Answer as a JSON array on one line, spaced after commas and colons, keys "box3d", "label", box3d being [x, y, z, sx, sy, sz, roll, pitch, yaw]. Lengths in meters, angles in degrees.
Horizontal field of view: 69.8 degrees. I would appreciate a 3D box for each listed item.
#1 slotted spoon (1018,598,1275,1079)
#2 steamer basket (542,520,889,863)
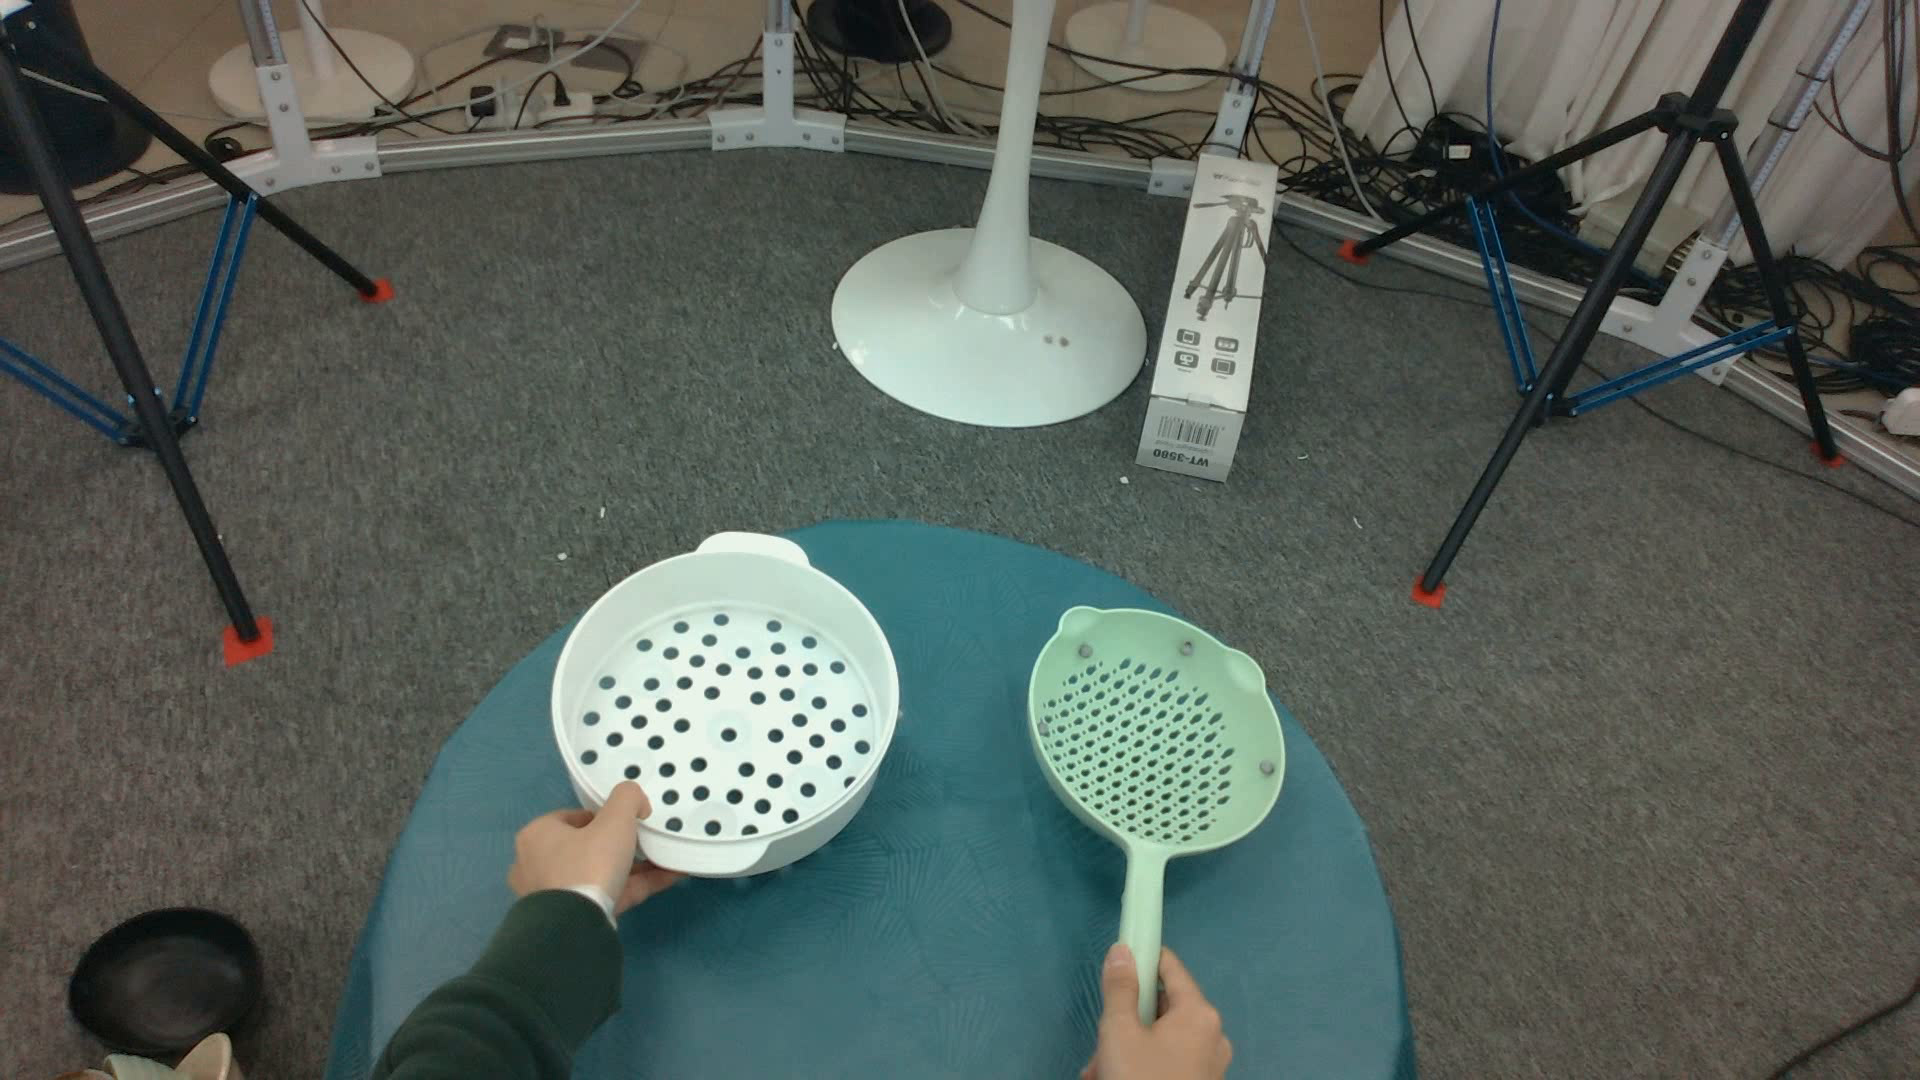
[{"box3d": [0.099, 0.188, 0.796, 0.169, 0.075, 0.360, 16, 41, -6], "label": "slotted spoon"}, {"box3d": [-0.147, 0.097, 0.838, 0.202, 0.069, 0.231, 6, 53, -6], "label": "steamer basket"}]
